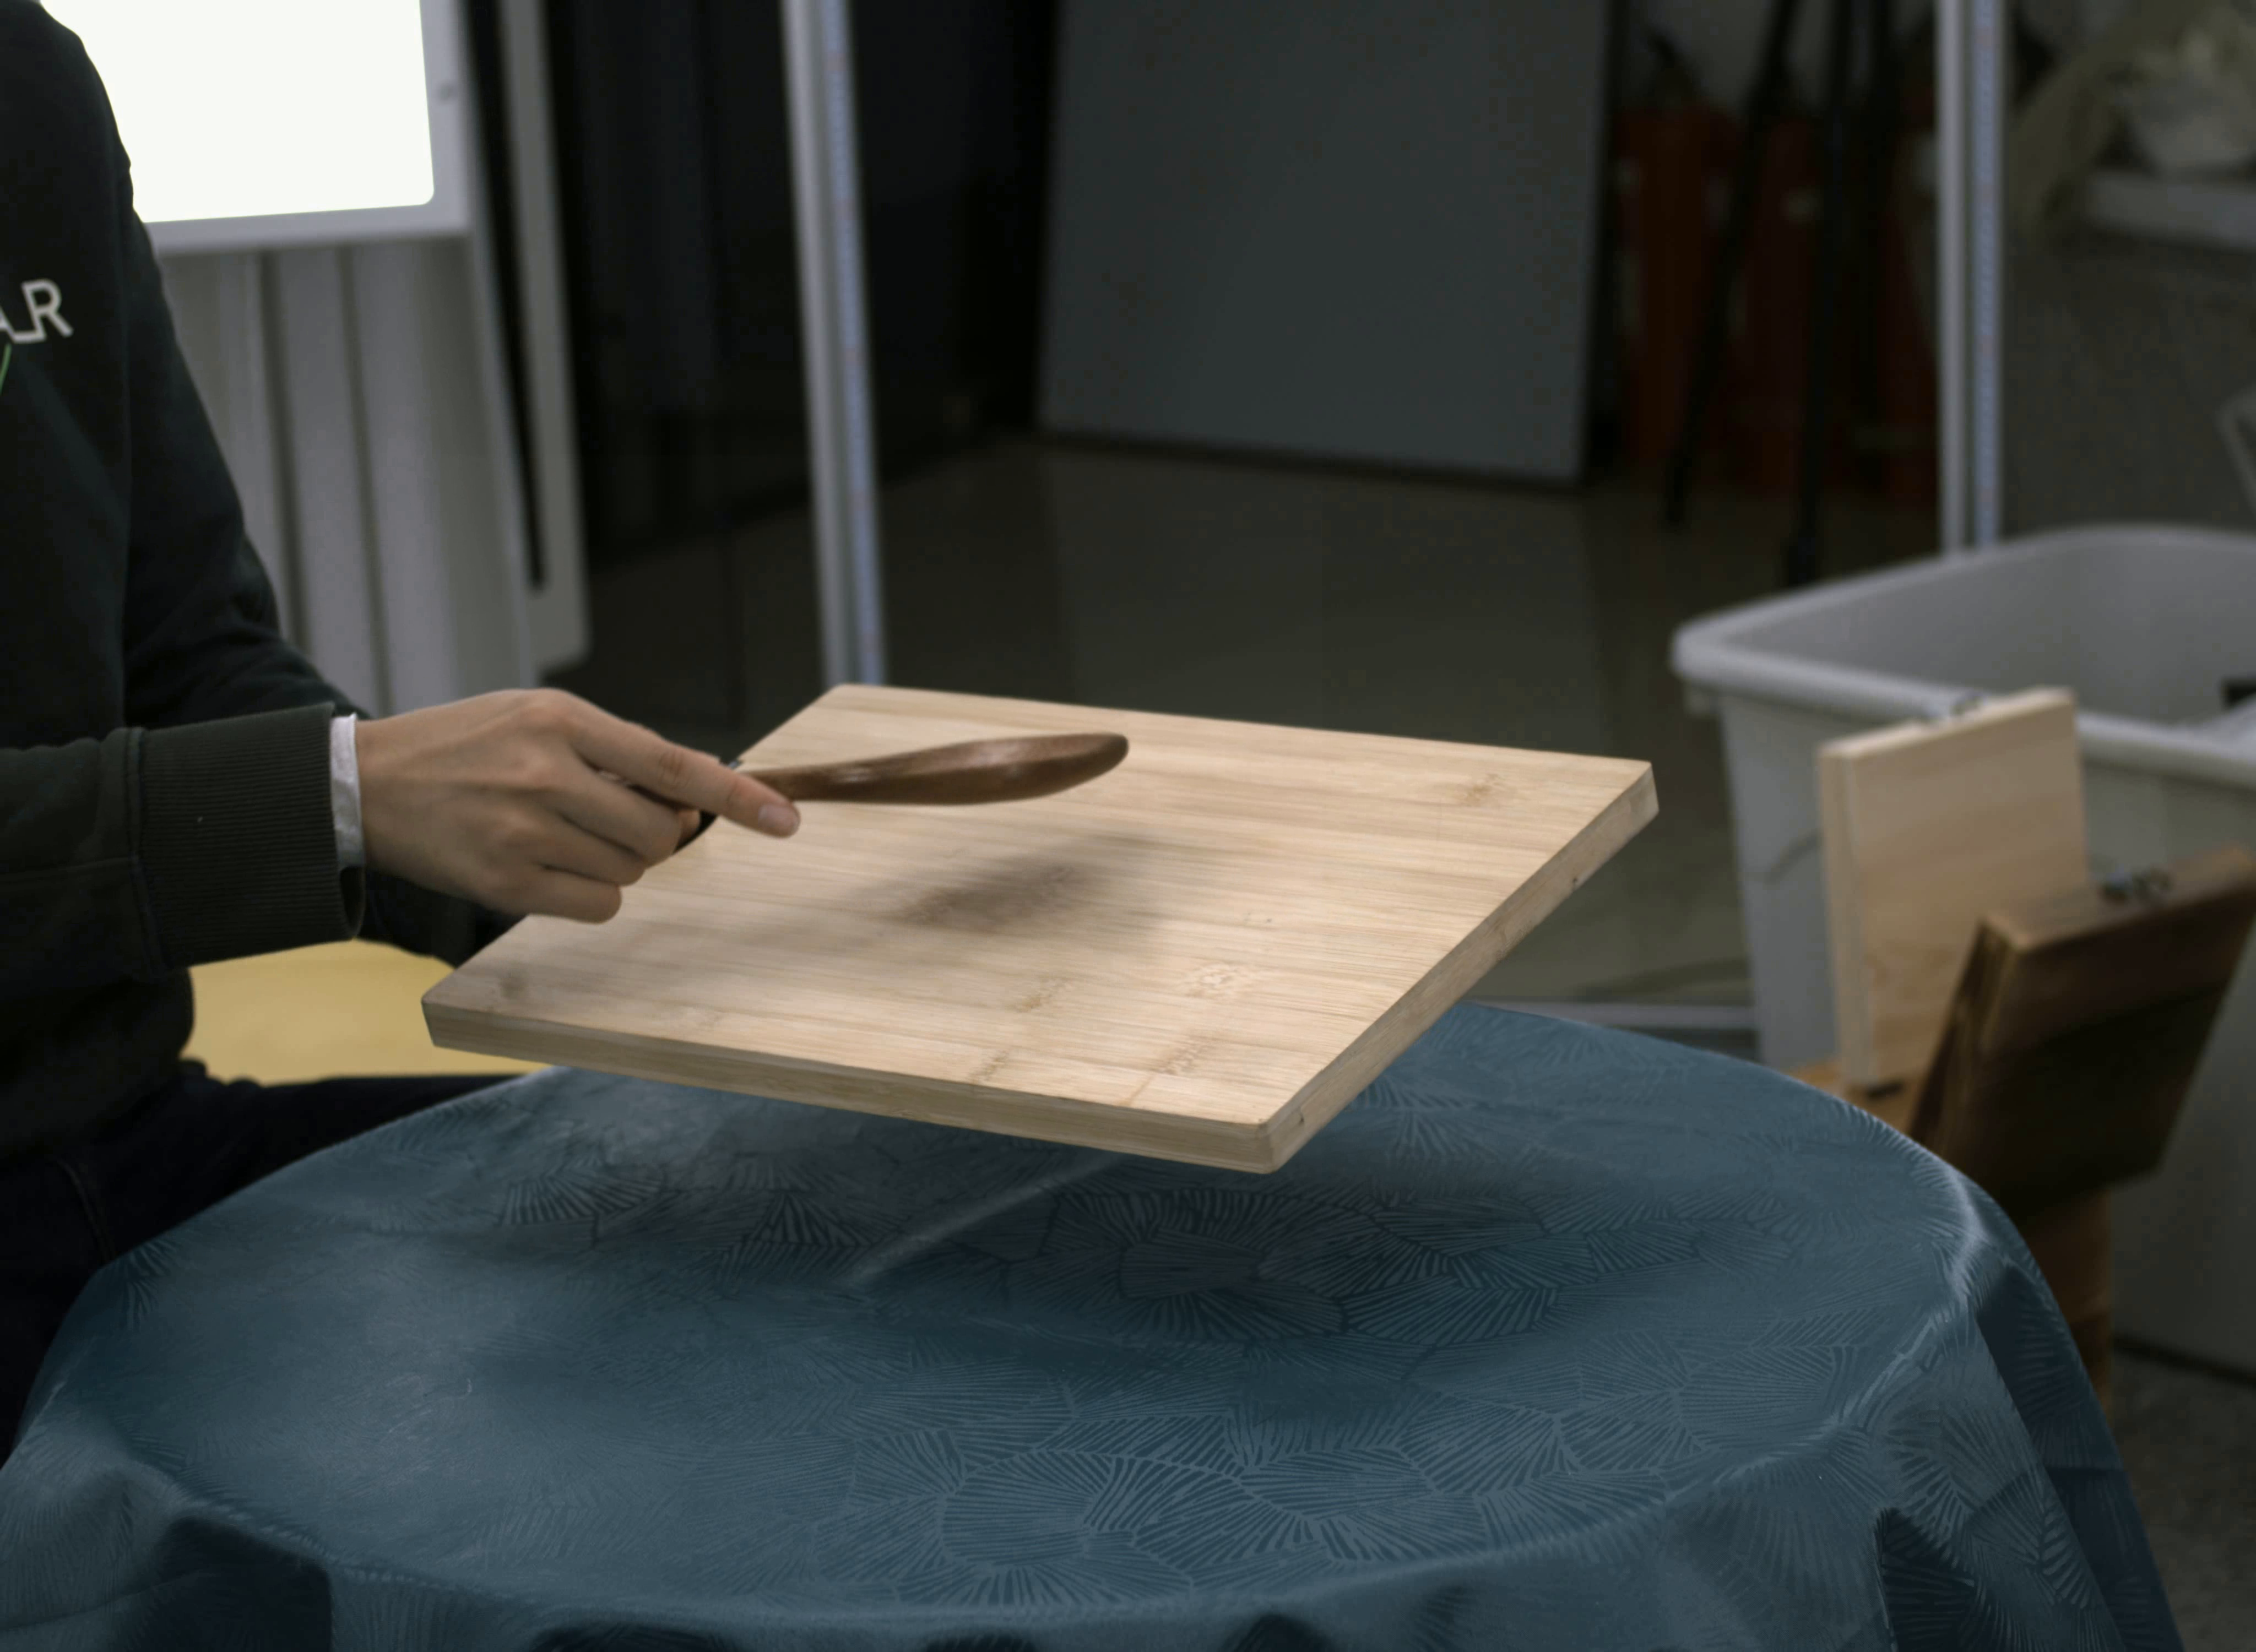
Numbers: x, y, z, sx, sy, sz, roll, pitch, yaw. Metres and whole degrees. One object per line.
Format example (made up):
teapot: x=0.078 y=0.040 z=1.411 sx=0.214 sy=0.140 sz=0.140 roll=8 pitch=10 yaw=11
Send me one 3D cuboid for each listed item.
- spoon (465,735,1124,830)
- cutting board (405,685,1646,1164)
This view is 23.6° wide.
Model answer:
spoon: x=-0.107 y=-0.012 z=1.733 sx=0.214 sy=0.017 sz=0.075 roll=-4 pitch=9 yaw=7
cutting board: x=-0.034 y=0.025 z=1.758 sx=0.351 sy=0.024 sz=0.247 roll=5 pitch=30 yaw=36
